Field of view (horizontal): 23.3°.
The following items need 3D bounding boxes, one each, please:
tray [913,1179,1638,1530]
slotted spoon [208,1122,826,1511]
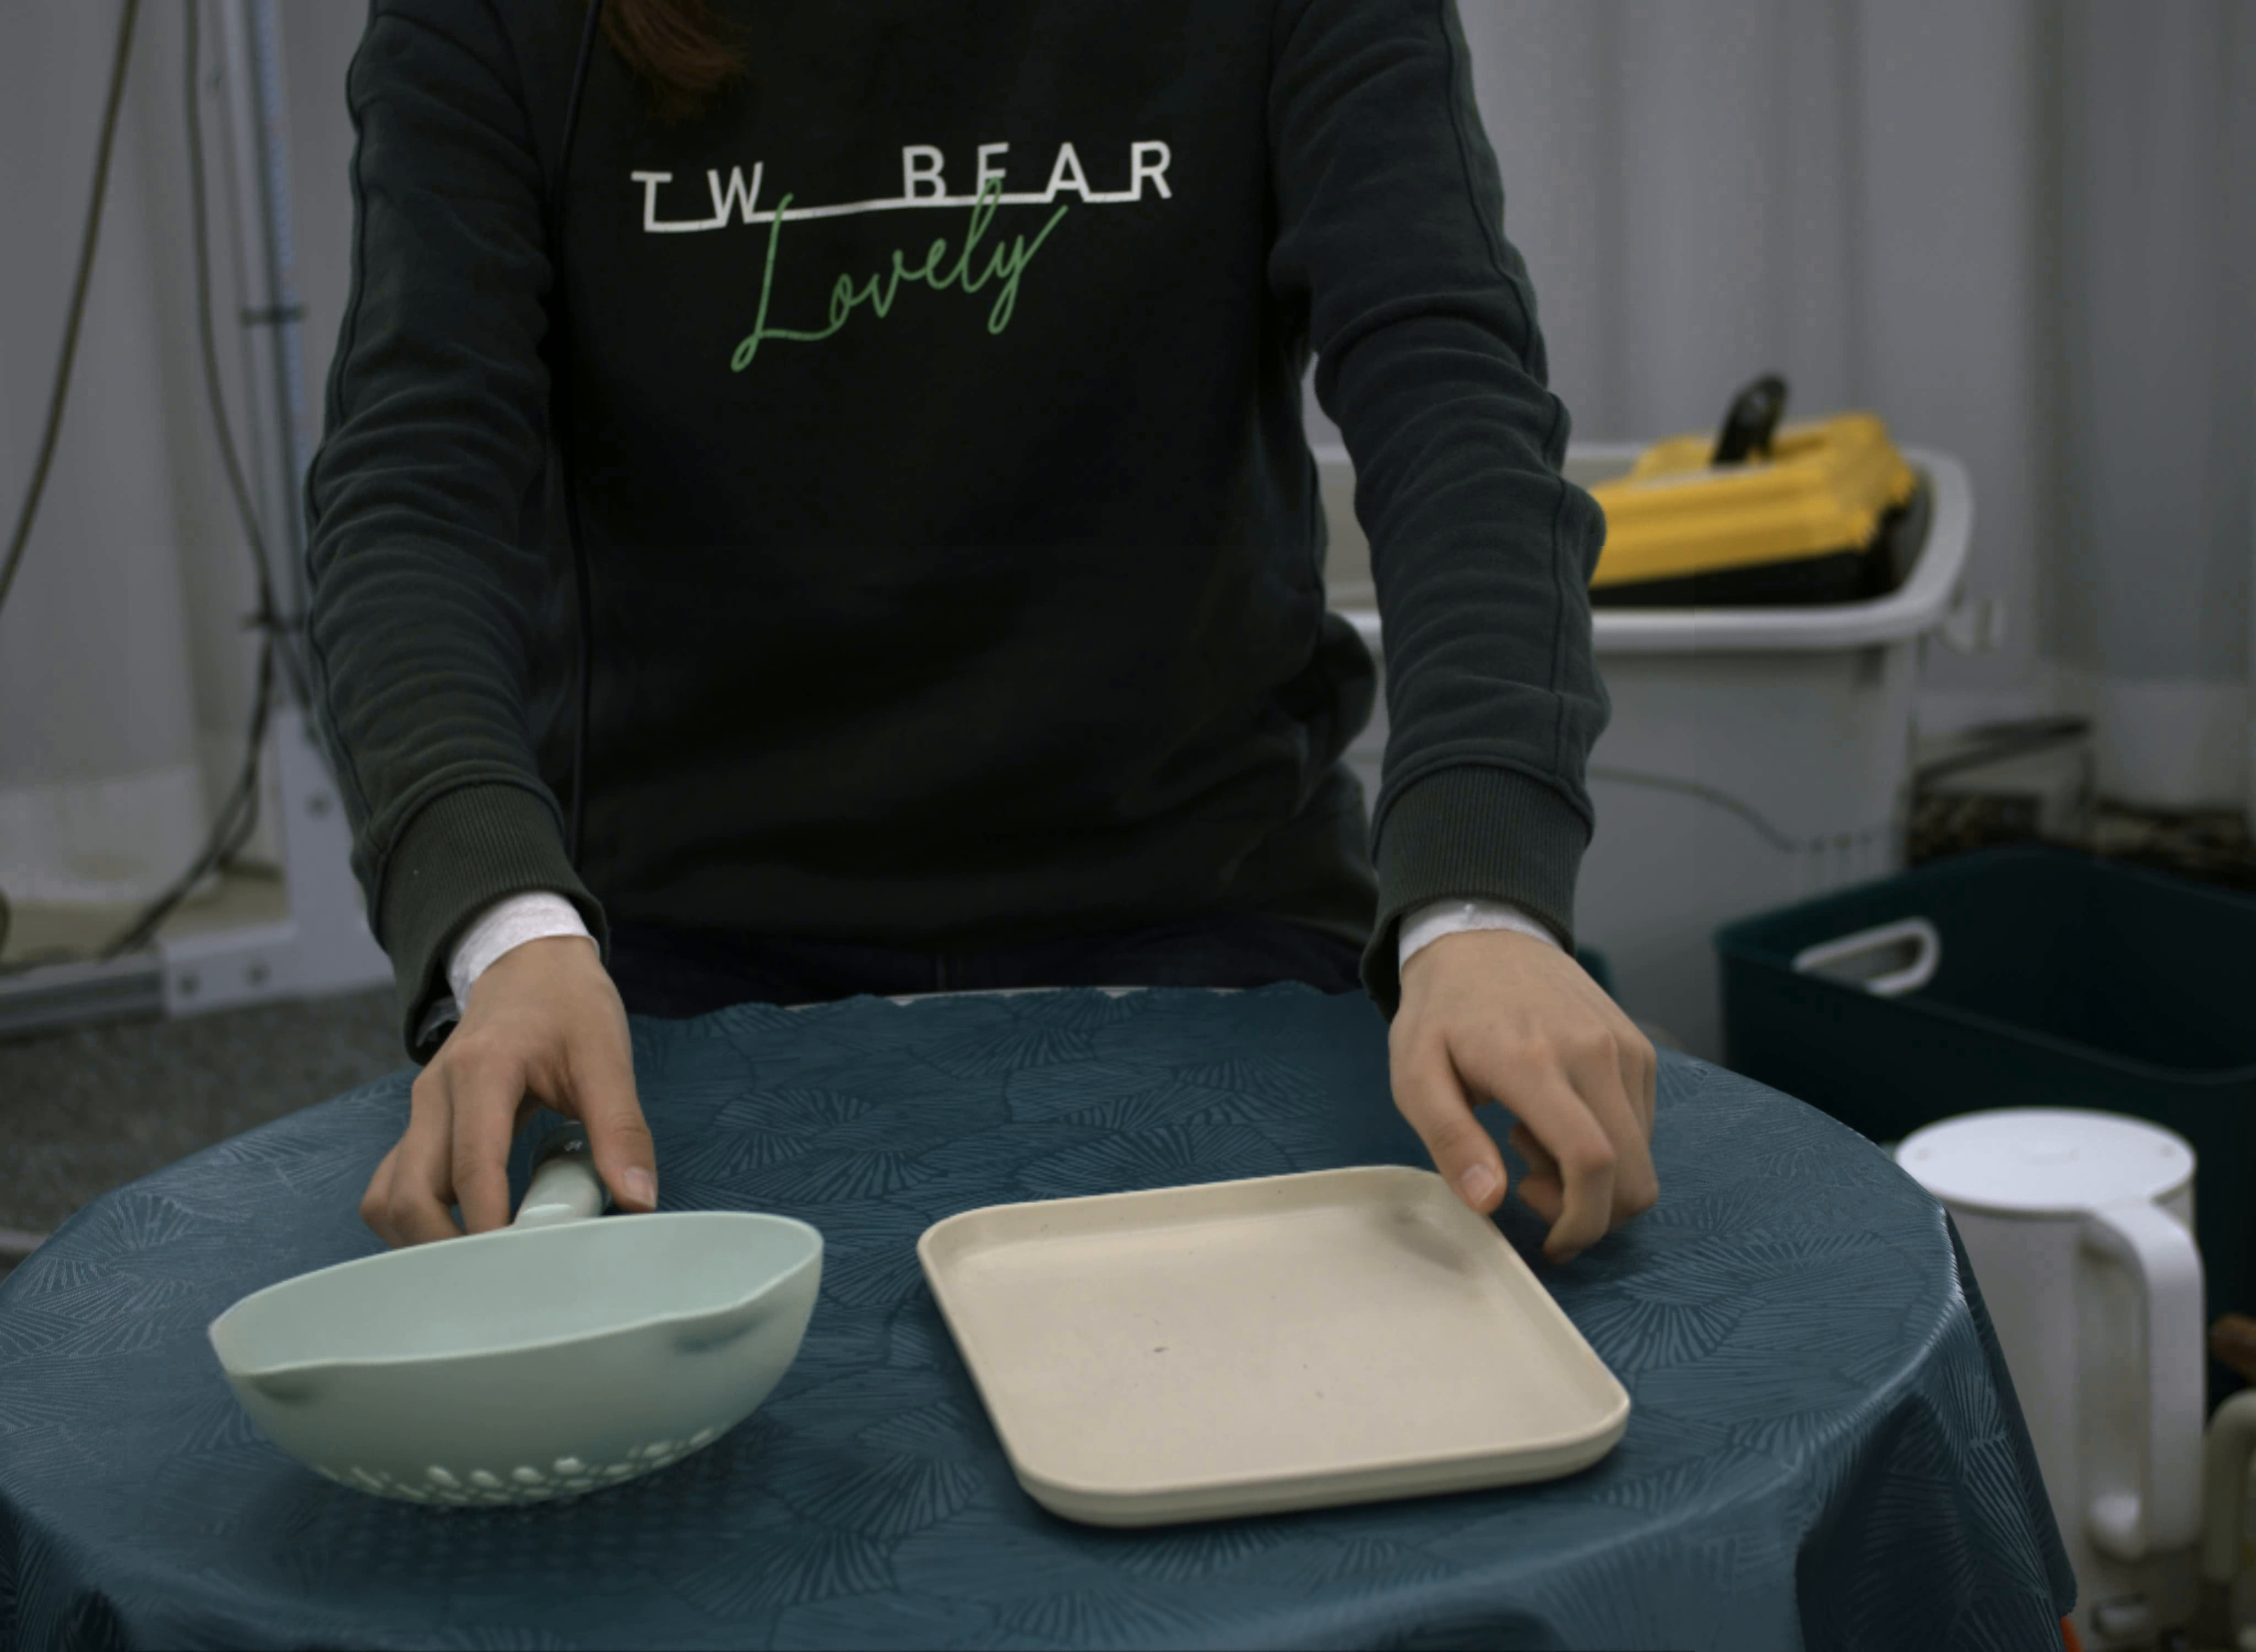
[{"bbox_3d":[0.037,0.148,1.551,0.170,0.017,0.241,-5,14,-10],"label":"tray"},{"bbox_3d":[-0.166,0.125,1.582,0.169,0.075,0.361,-7,15,-1],"label":"slotted spoon"}]
